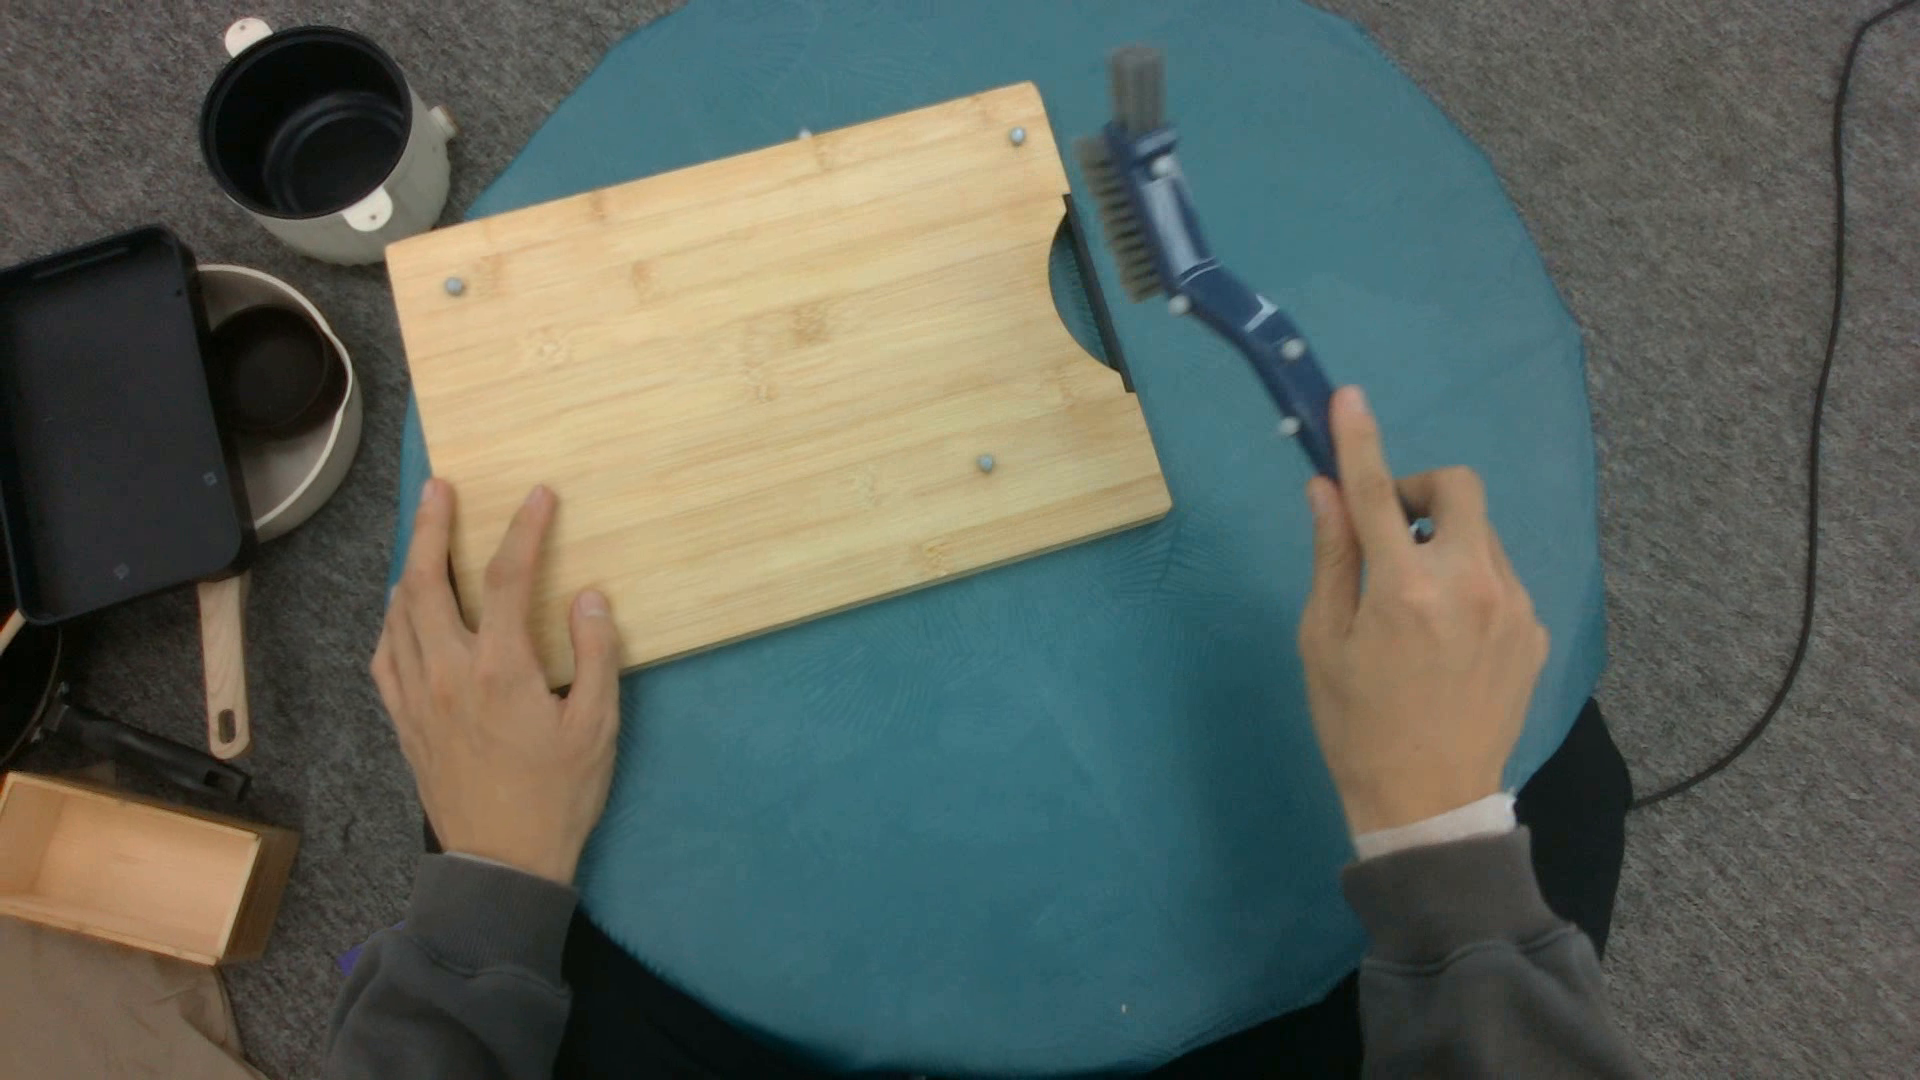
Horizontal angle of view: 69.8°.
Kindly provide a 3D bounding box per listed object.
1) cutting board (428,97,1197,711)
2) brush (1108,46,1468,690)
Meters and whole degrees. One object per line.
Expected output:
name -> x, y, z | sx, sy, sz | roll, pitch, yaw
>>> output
cutting board -> -0.082, -0.076, 0.705 | 0.349, 0.023, 0.251 | -17, 78, -4
brush -> 0.143, -0.068, 0.571 | 0.033, 0.095, 0.273 | -29, 81, -34
